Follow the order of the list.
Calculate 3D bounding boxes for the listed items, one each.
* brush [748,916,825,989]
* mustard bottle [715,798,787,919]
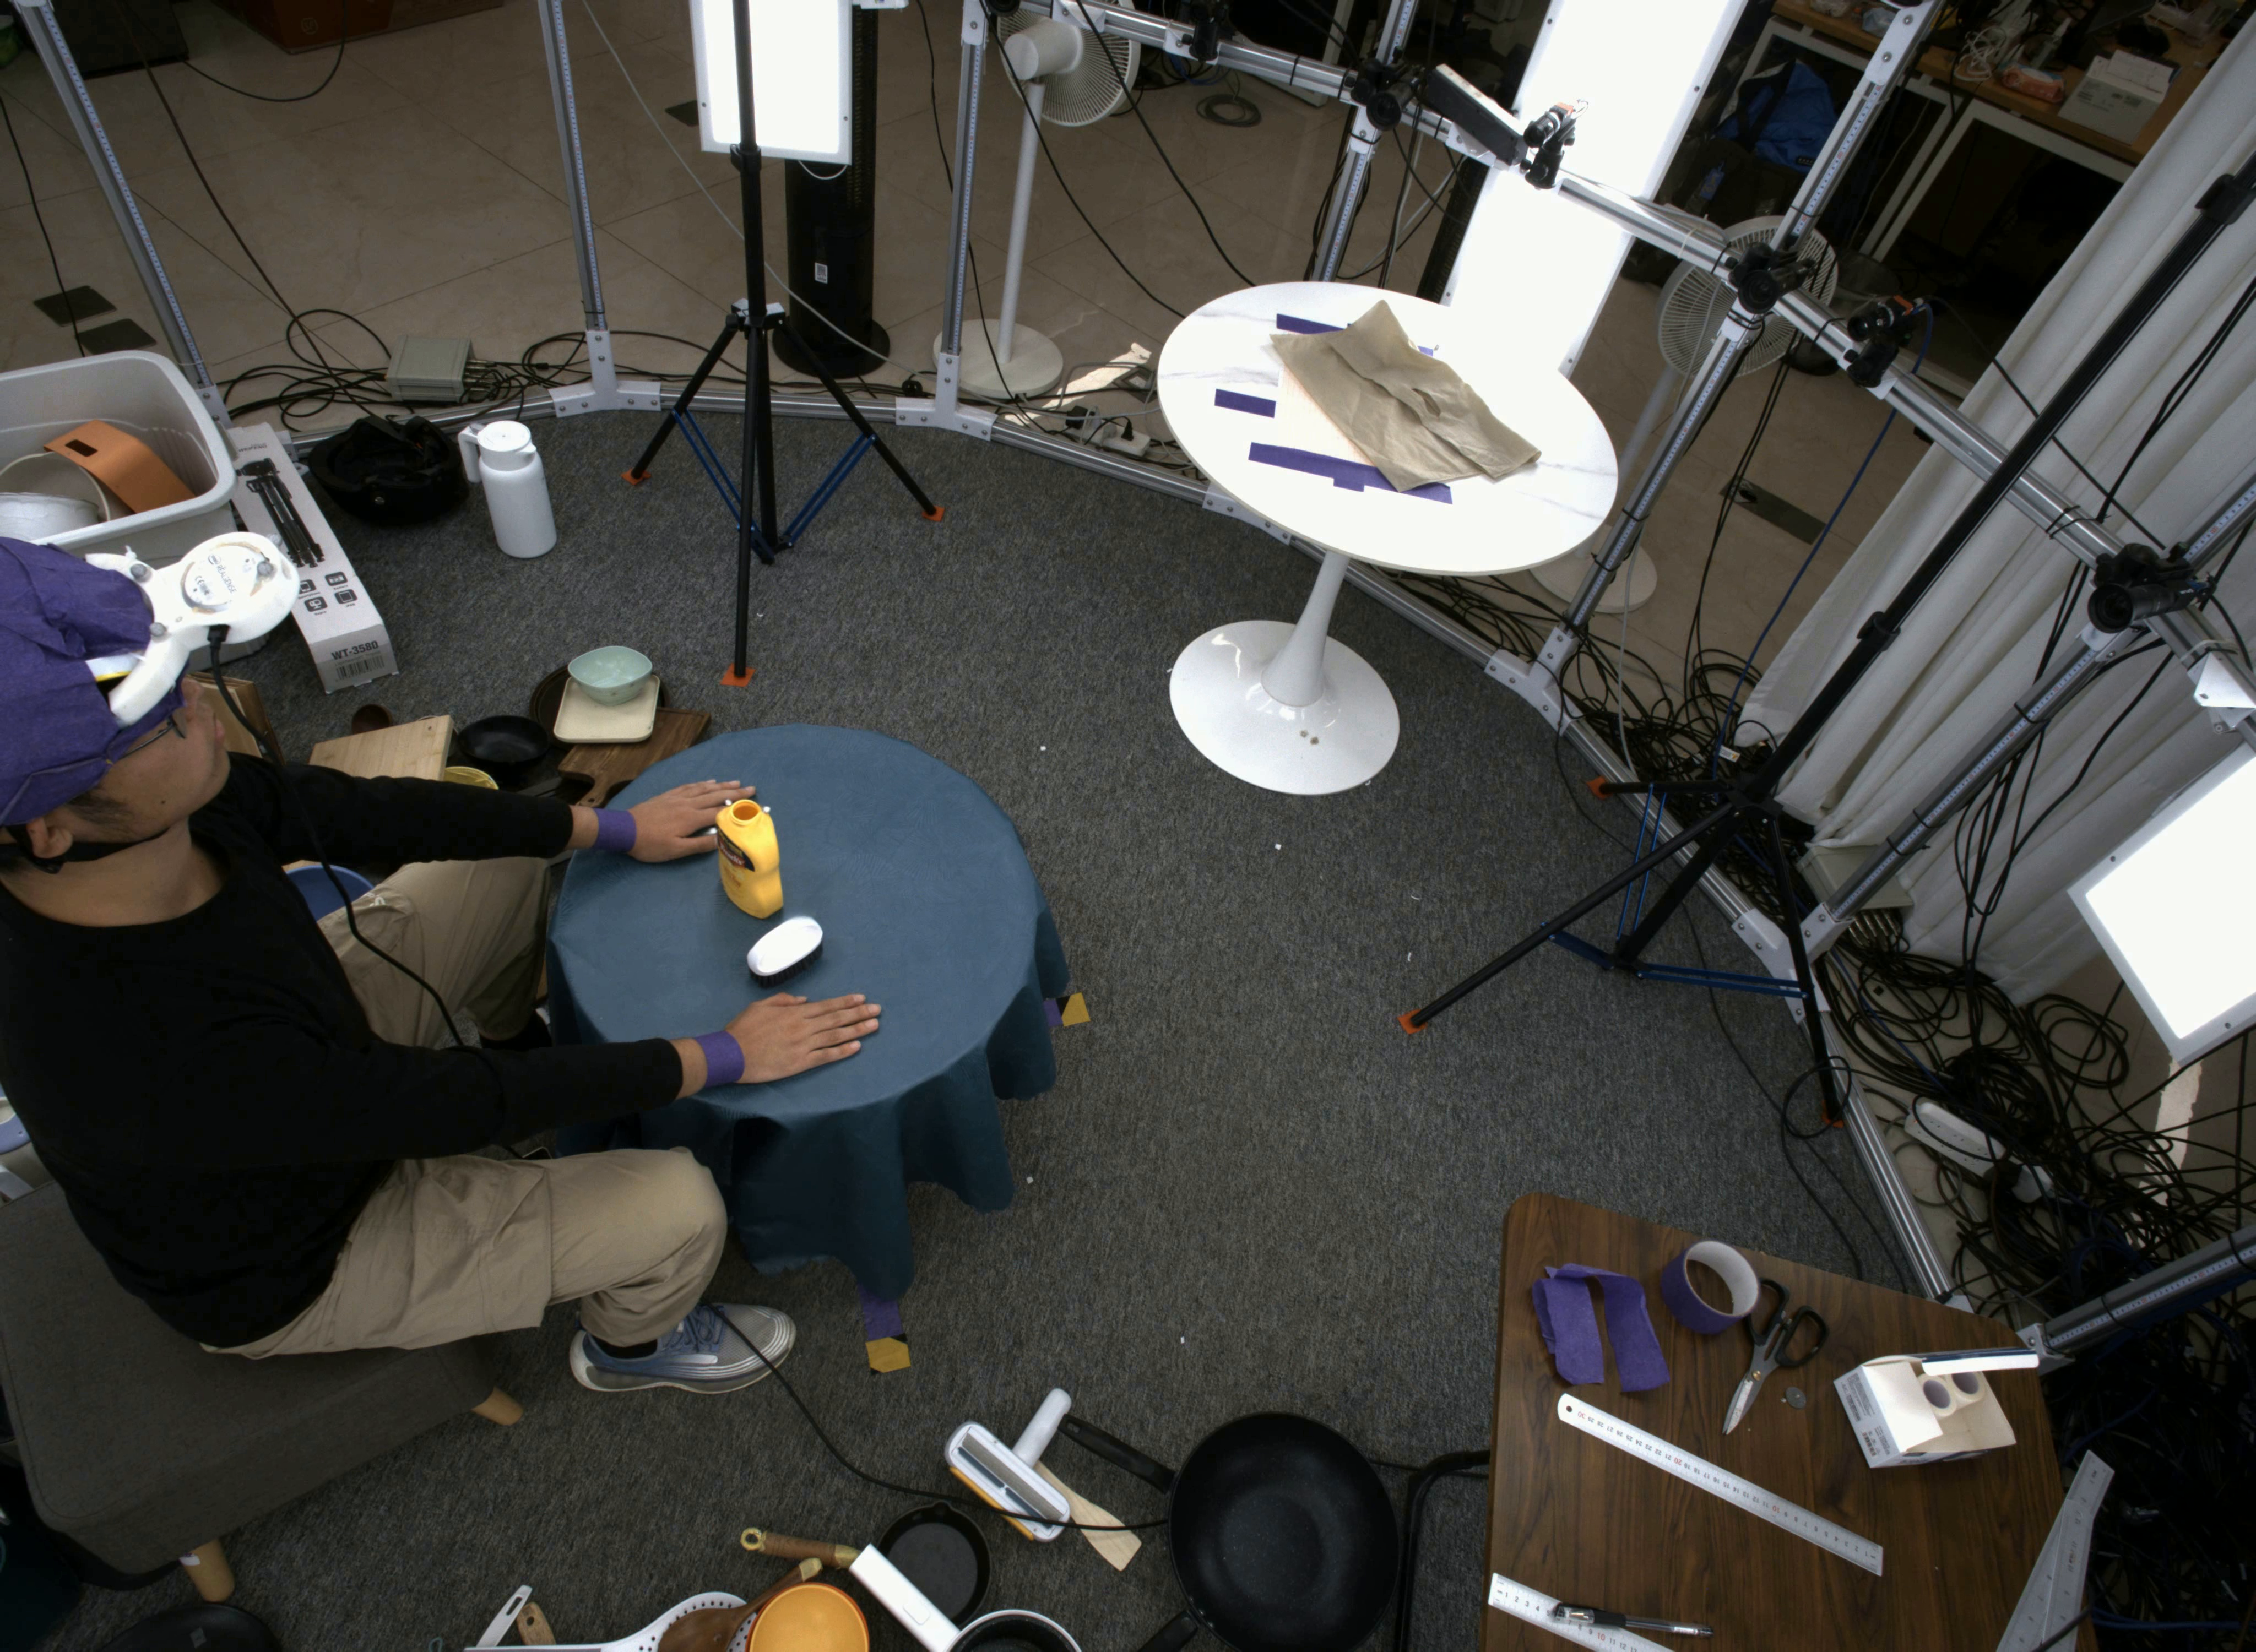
[{"bbox_3d":[-0.416,0.144,1.575,0.099,0.074,0.049,-32,63,-33],"label":"brush"},{"bbox_3d":[-0.464,0.032,1.586,0.096,0.175,0.059,39,58,17],"label":"mustard bottle"}]
